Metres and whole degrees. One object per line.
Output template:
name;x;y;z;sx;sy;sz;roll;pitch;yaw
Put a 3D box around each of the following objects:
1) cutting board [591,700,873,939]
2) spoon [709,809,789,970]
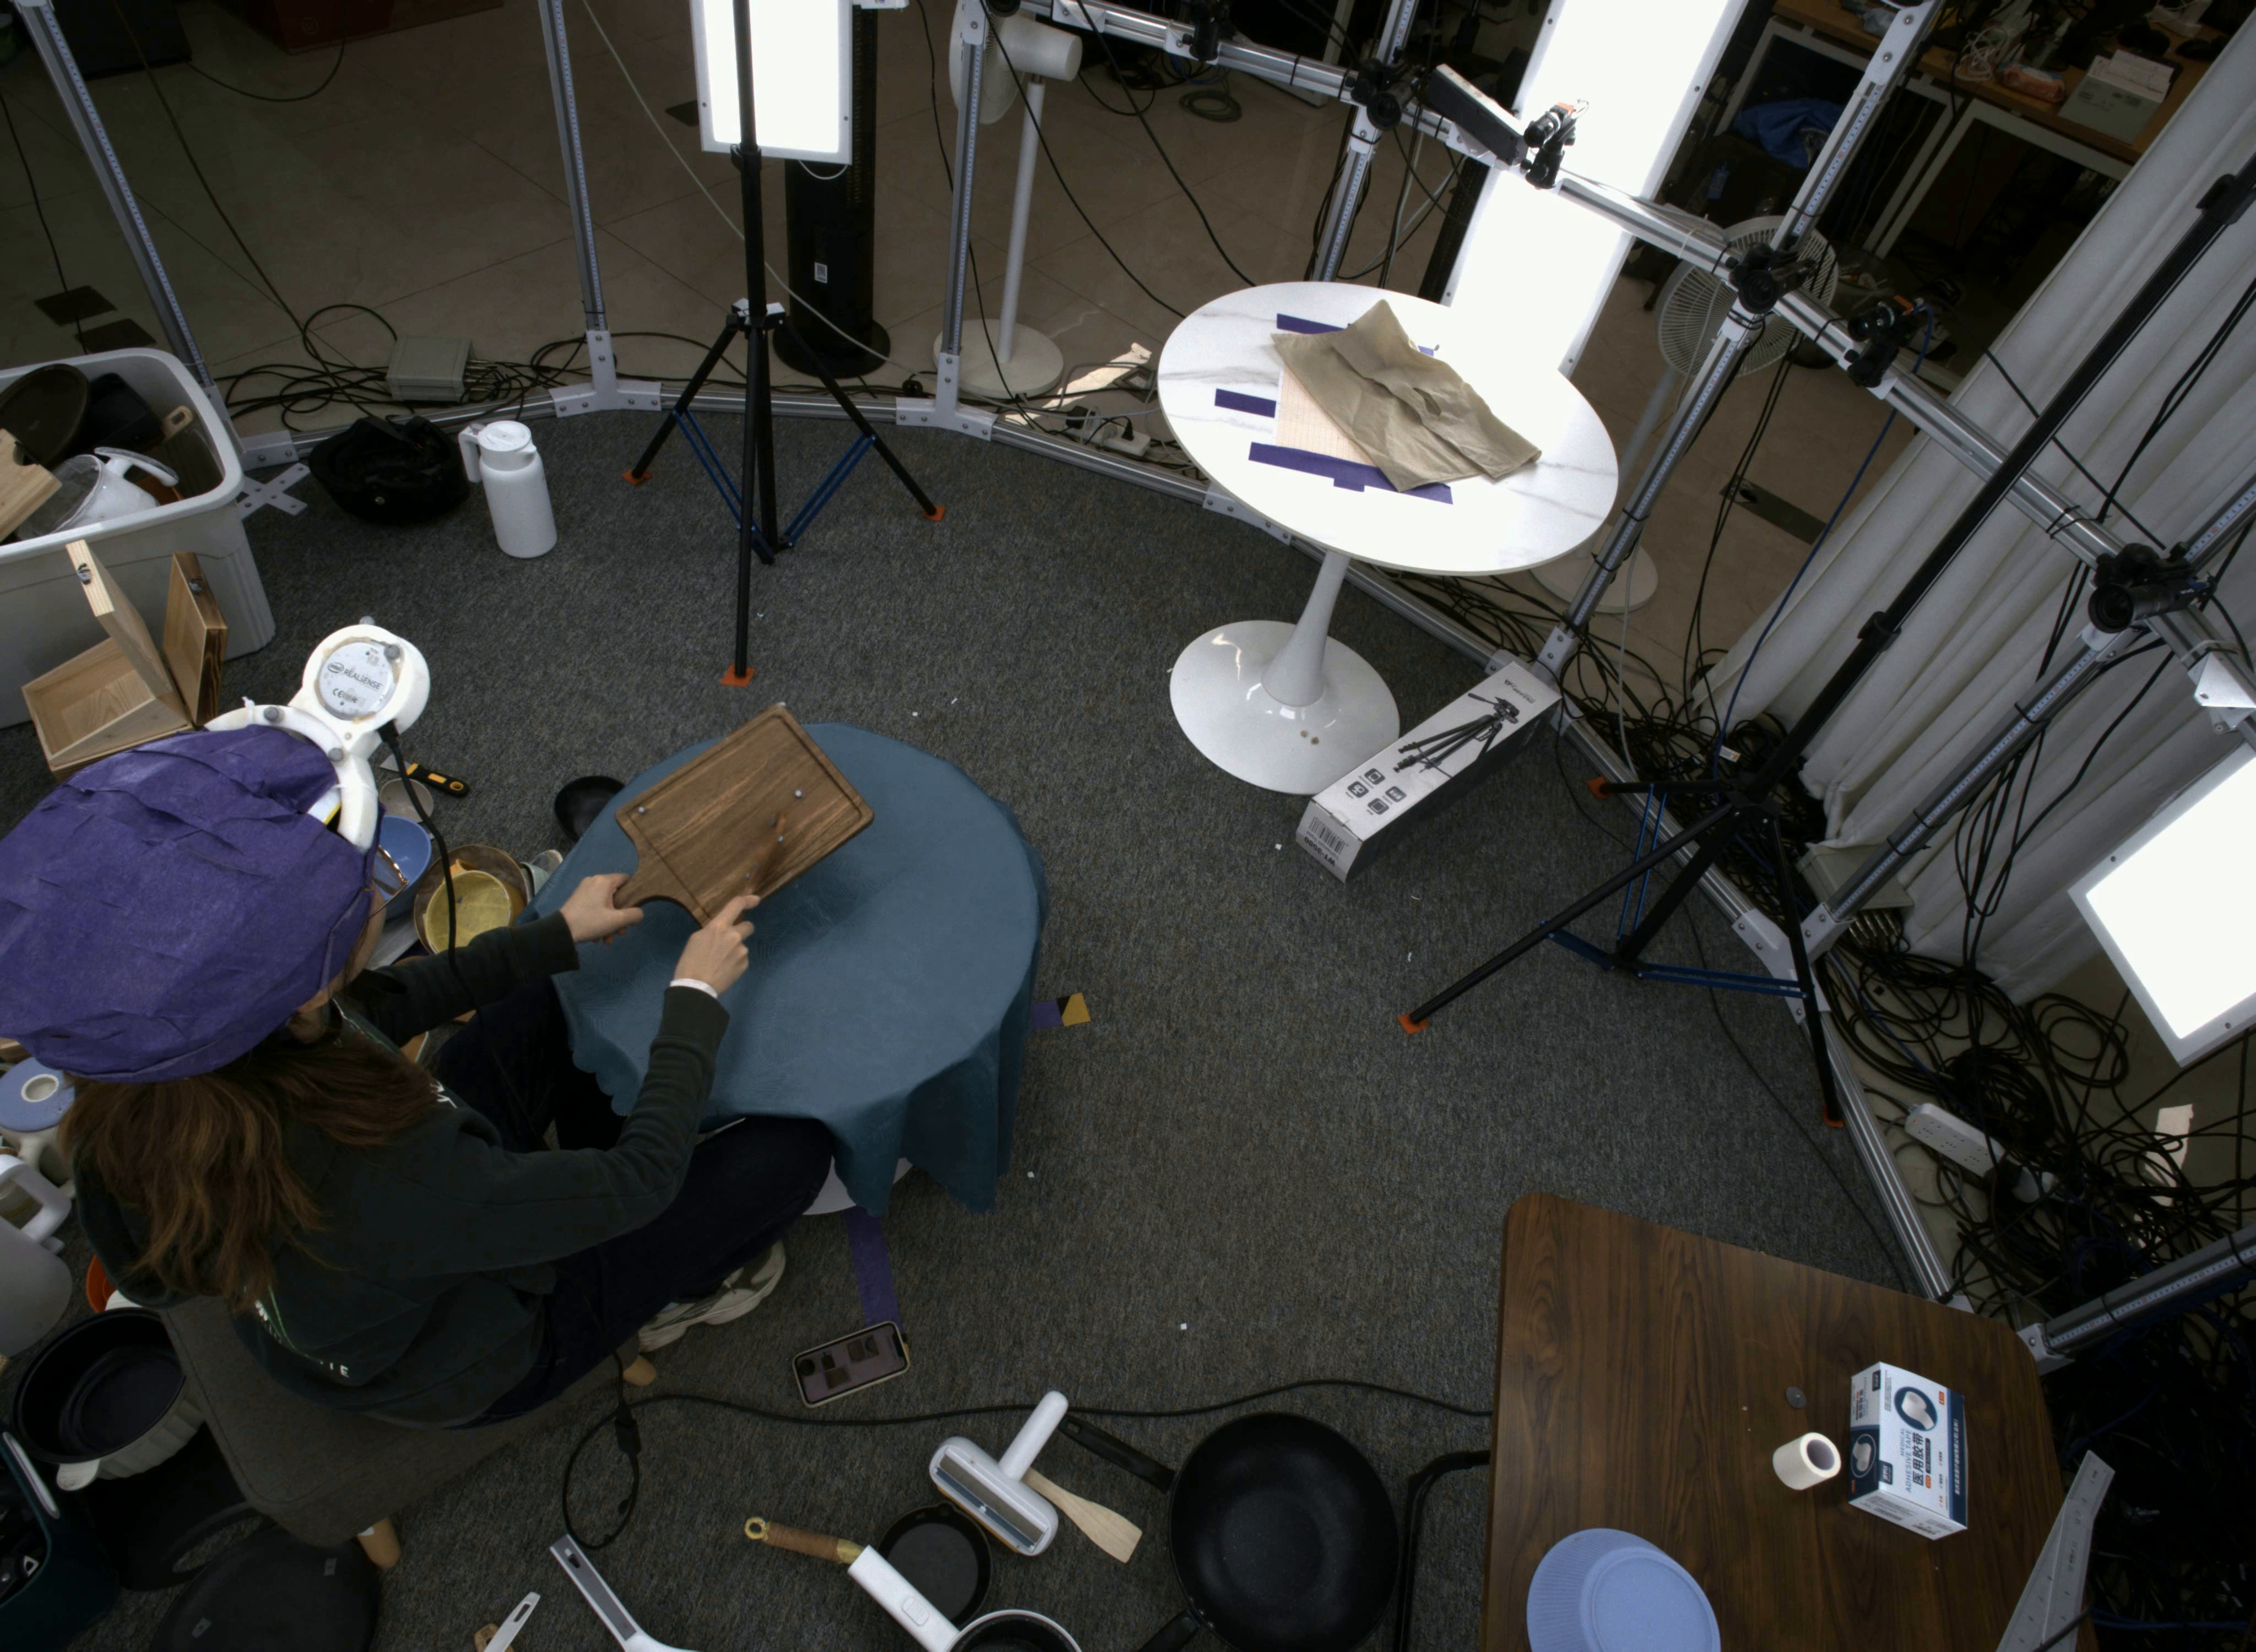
cutting board;-0.504;0.015;1.564;0.352;0.023;0.200;-39;87;-23
spoon;-0.440;0.070;1.507;0.018;0.074;0.213;33;53;-24
